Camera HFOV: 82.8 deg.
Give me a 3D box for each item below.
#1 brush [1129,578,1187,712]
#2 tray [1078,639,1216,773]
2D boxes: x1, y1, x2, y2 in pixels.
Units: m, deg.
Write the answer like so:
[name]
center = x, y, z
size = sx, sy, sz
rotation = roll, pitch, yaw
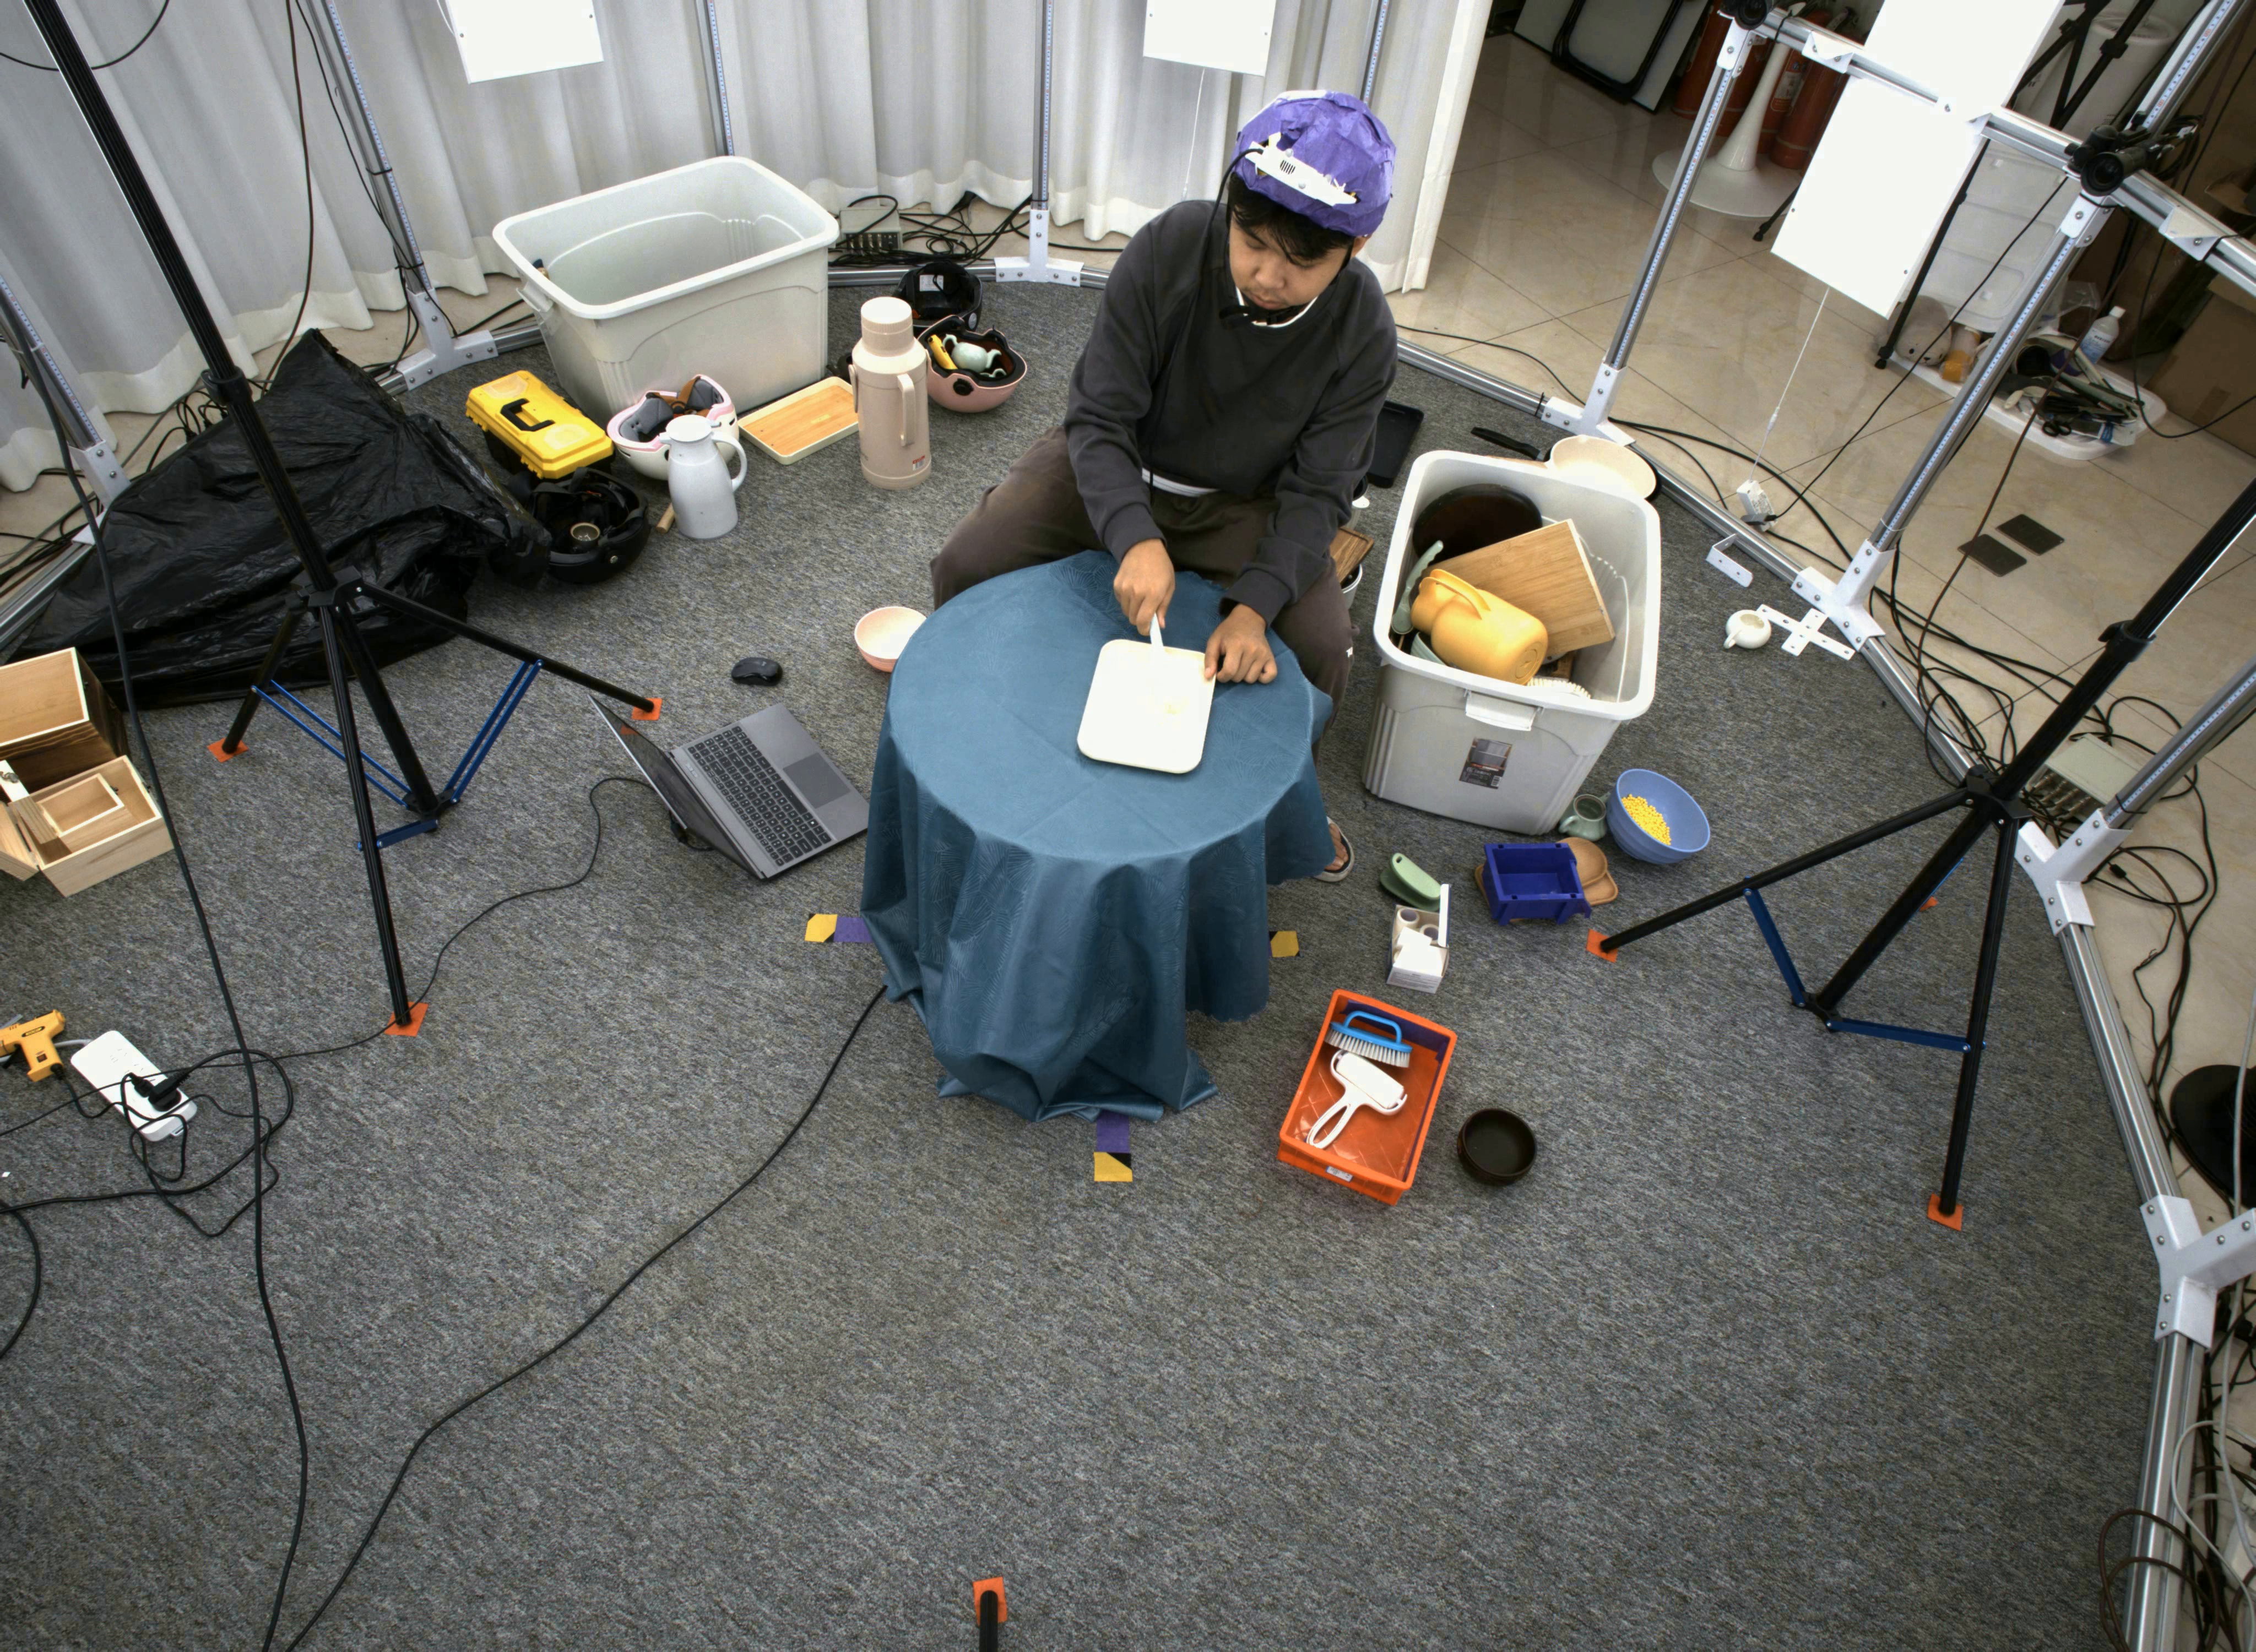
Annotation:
[brush]
center = 0.037, -0.264, 1.849
size = 0.038, 0.049, 0.233
rotation = -8, 62, -18
[tray]
center = 0.029, -0.170, 1.803
size = 0.171, 0.017, 0.245
rotation = 10, 49, 3
